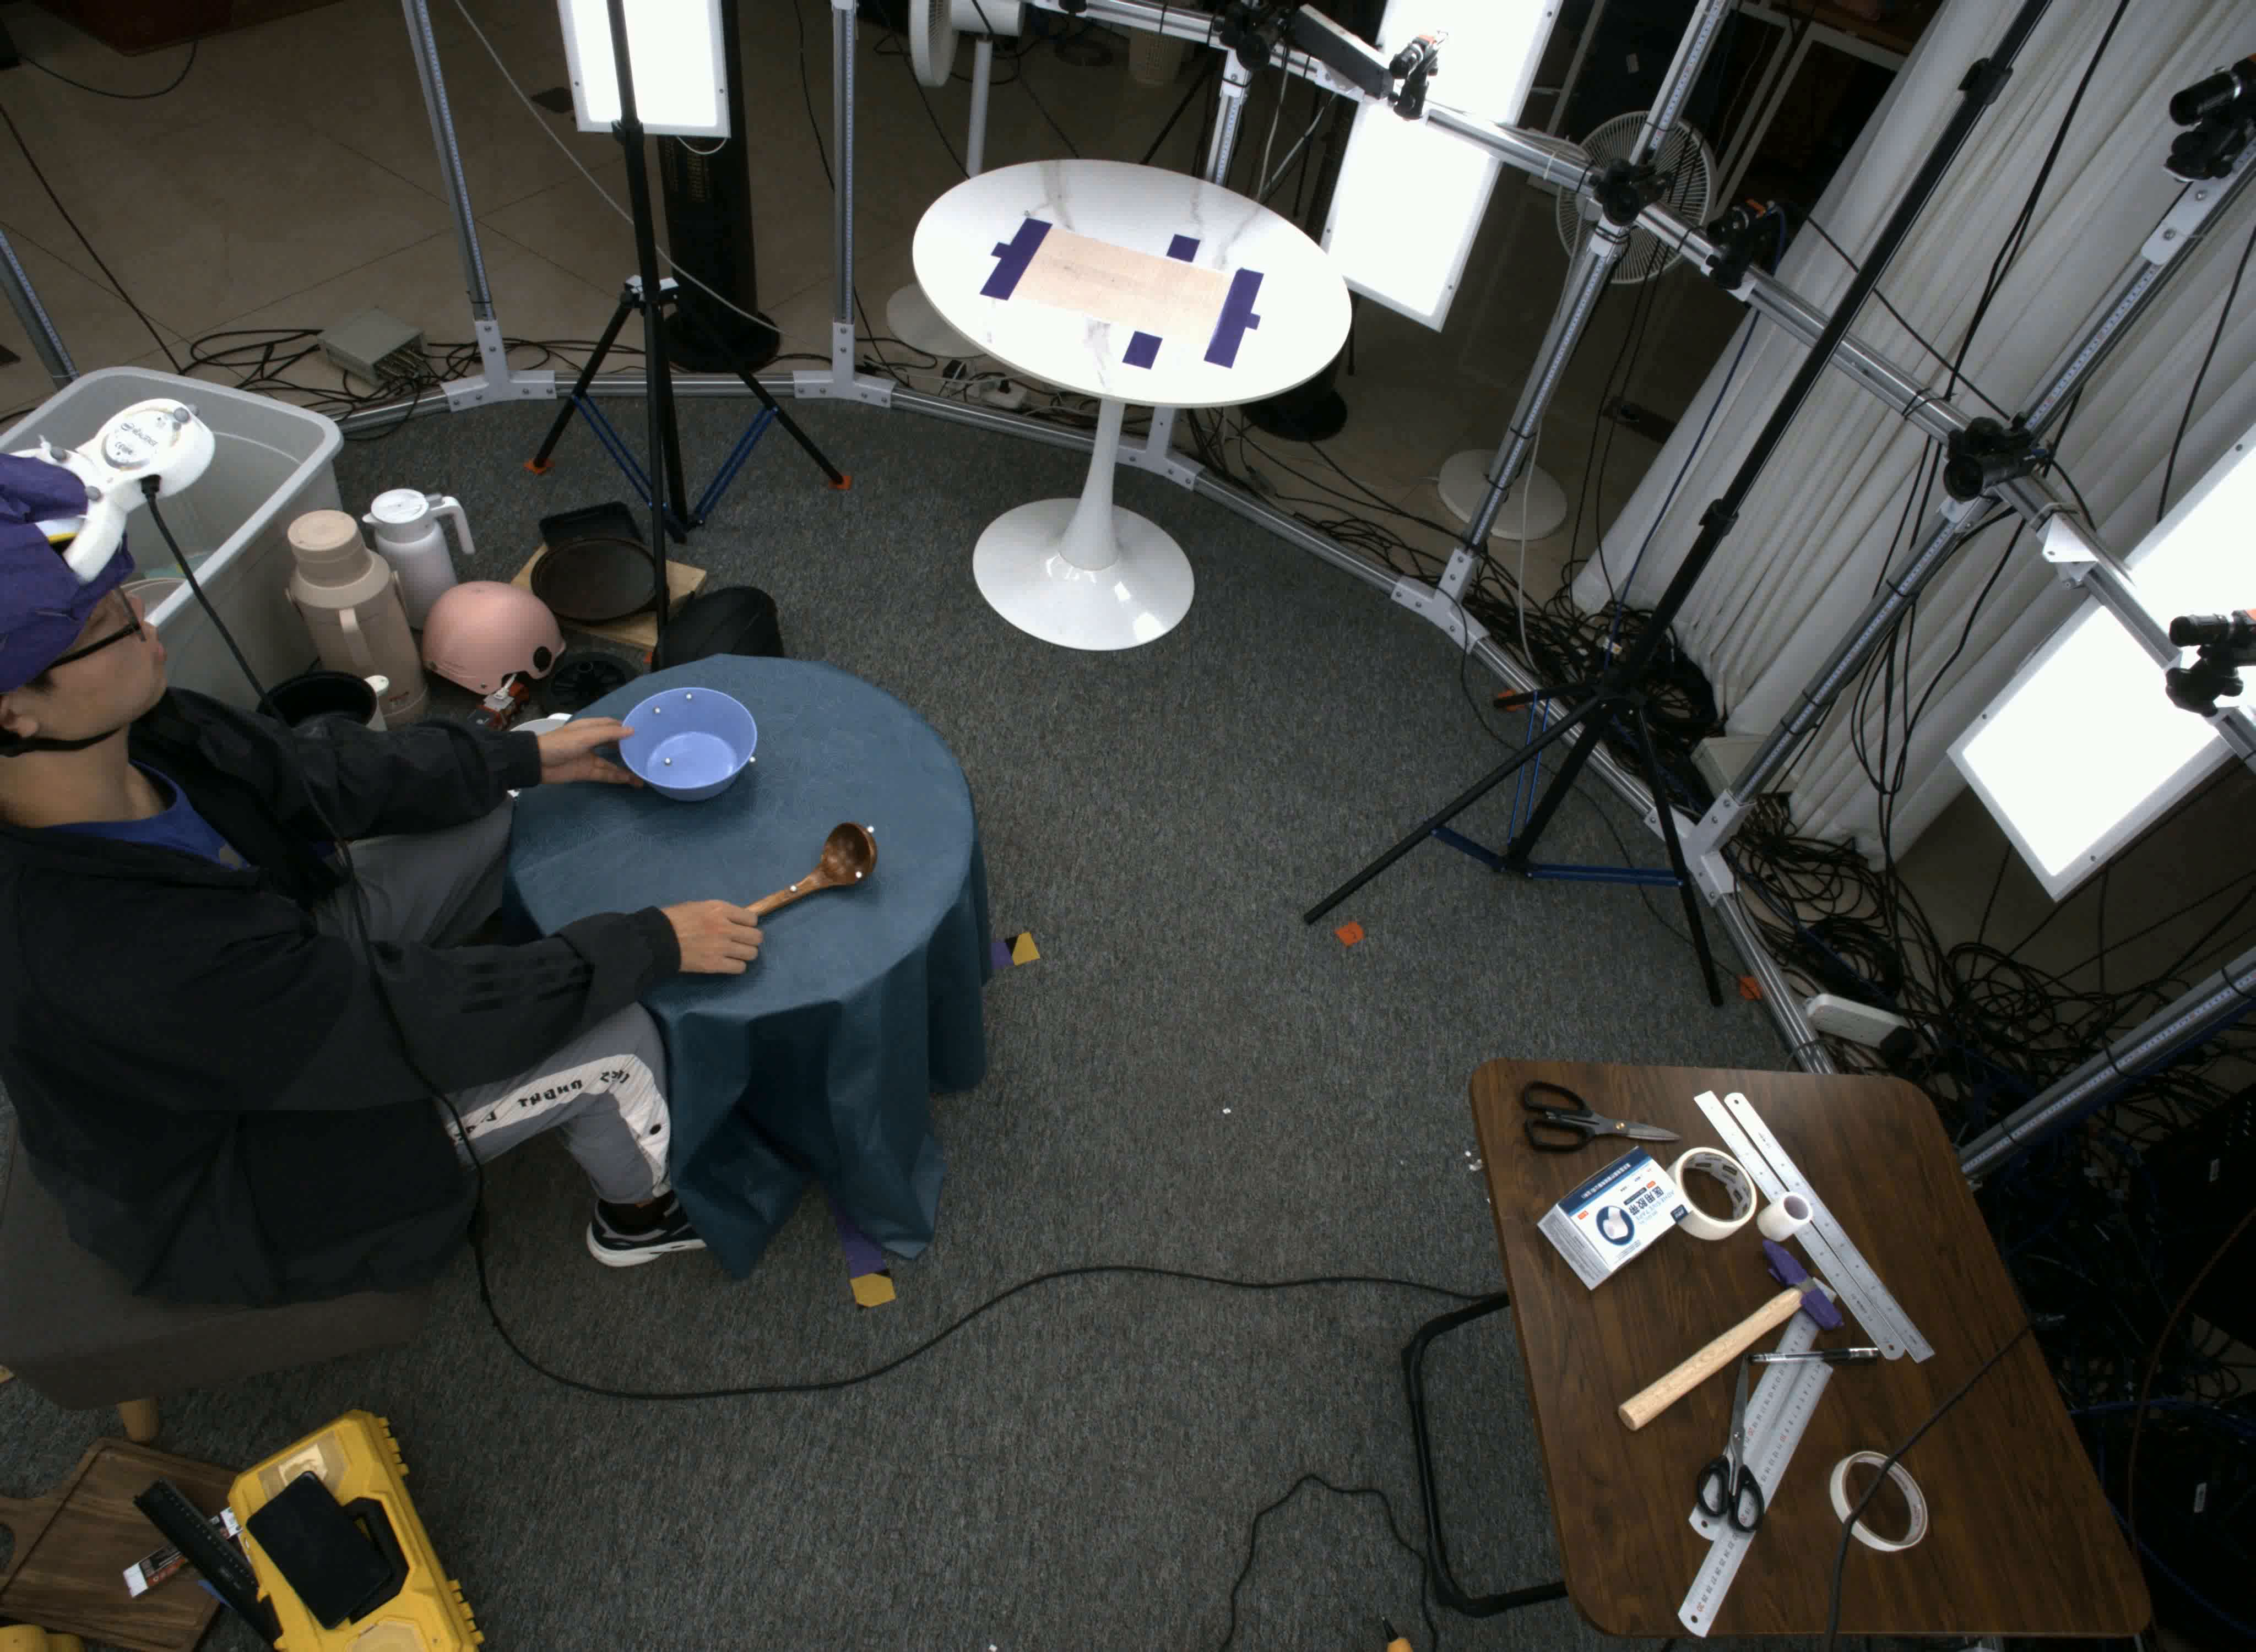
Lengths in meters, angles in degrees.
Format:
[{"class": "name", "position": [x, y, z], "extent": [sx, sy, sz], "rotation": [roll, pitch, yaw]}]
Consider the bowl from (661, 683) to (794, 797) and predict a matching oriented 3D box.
[{"class": "bowl", "position": [-0.537, -0.106, 1.739], "extent": [0.175, 0.072, 0.173], "rotation": [7, 52, -8]}]

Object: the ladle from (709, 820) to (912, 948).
[{"class": "ladle", "position": [-0.399, 0.074, 1.636], "extent": [0.275, 0.078, 0.080], "rotation": [-24, 61, -28]}]
